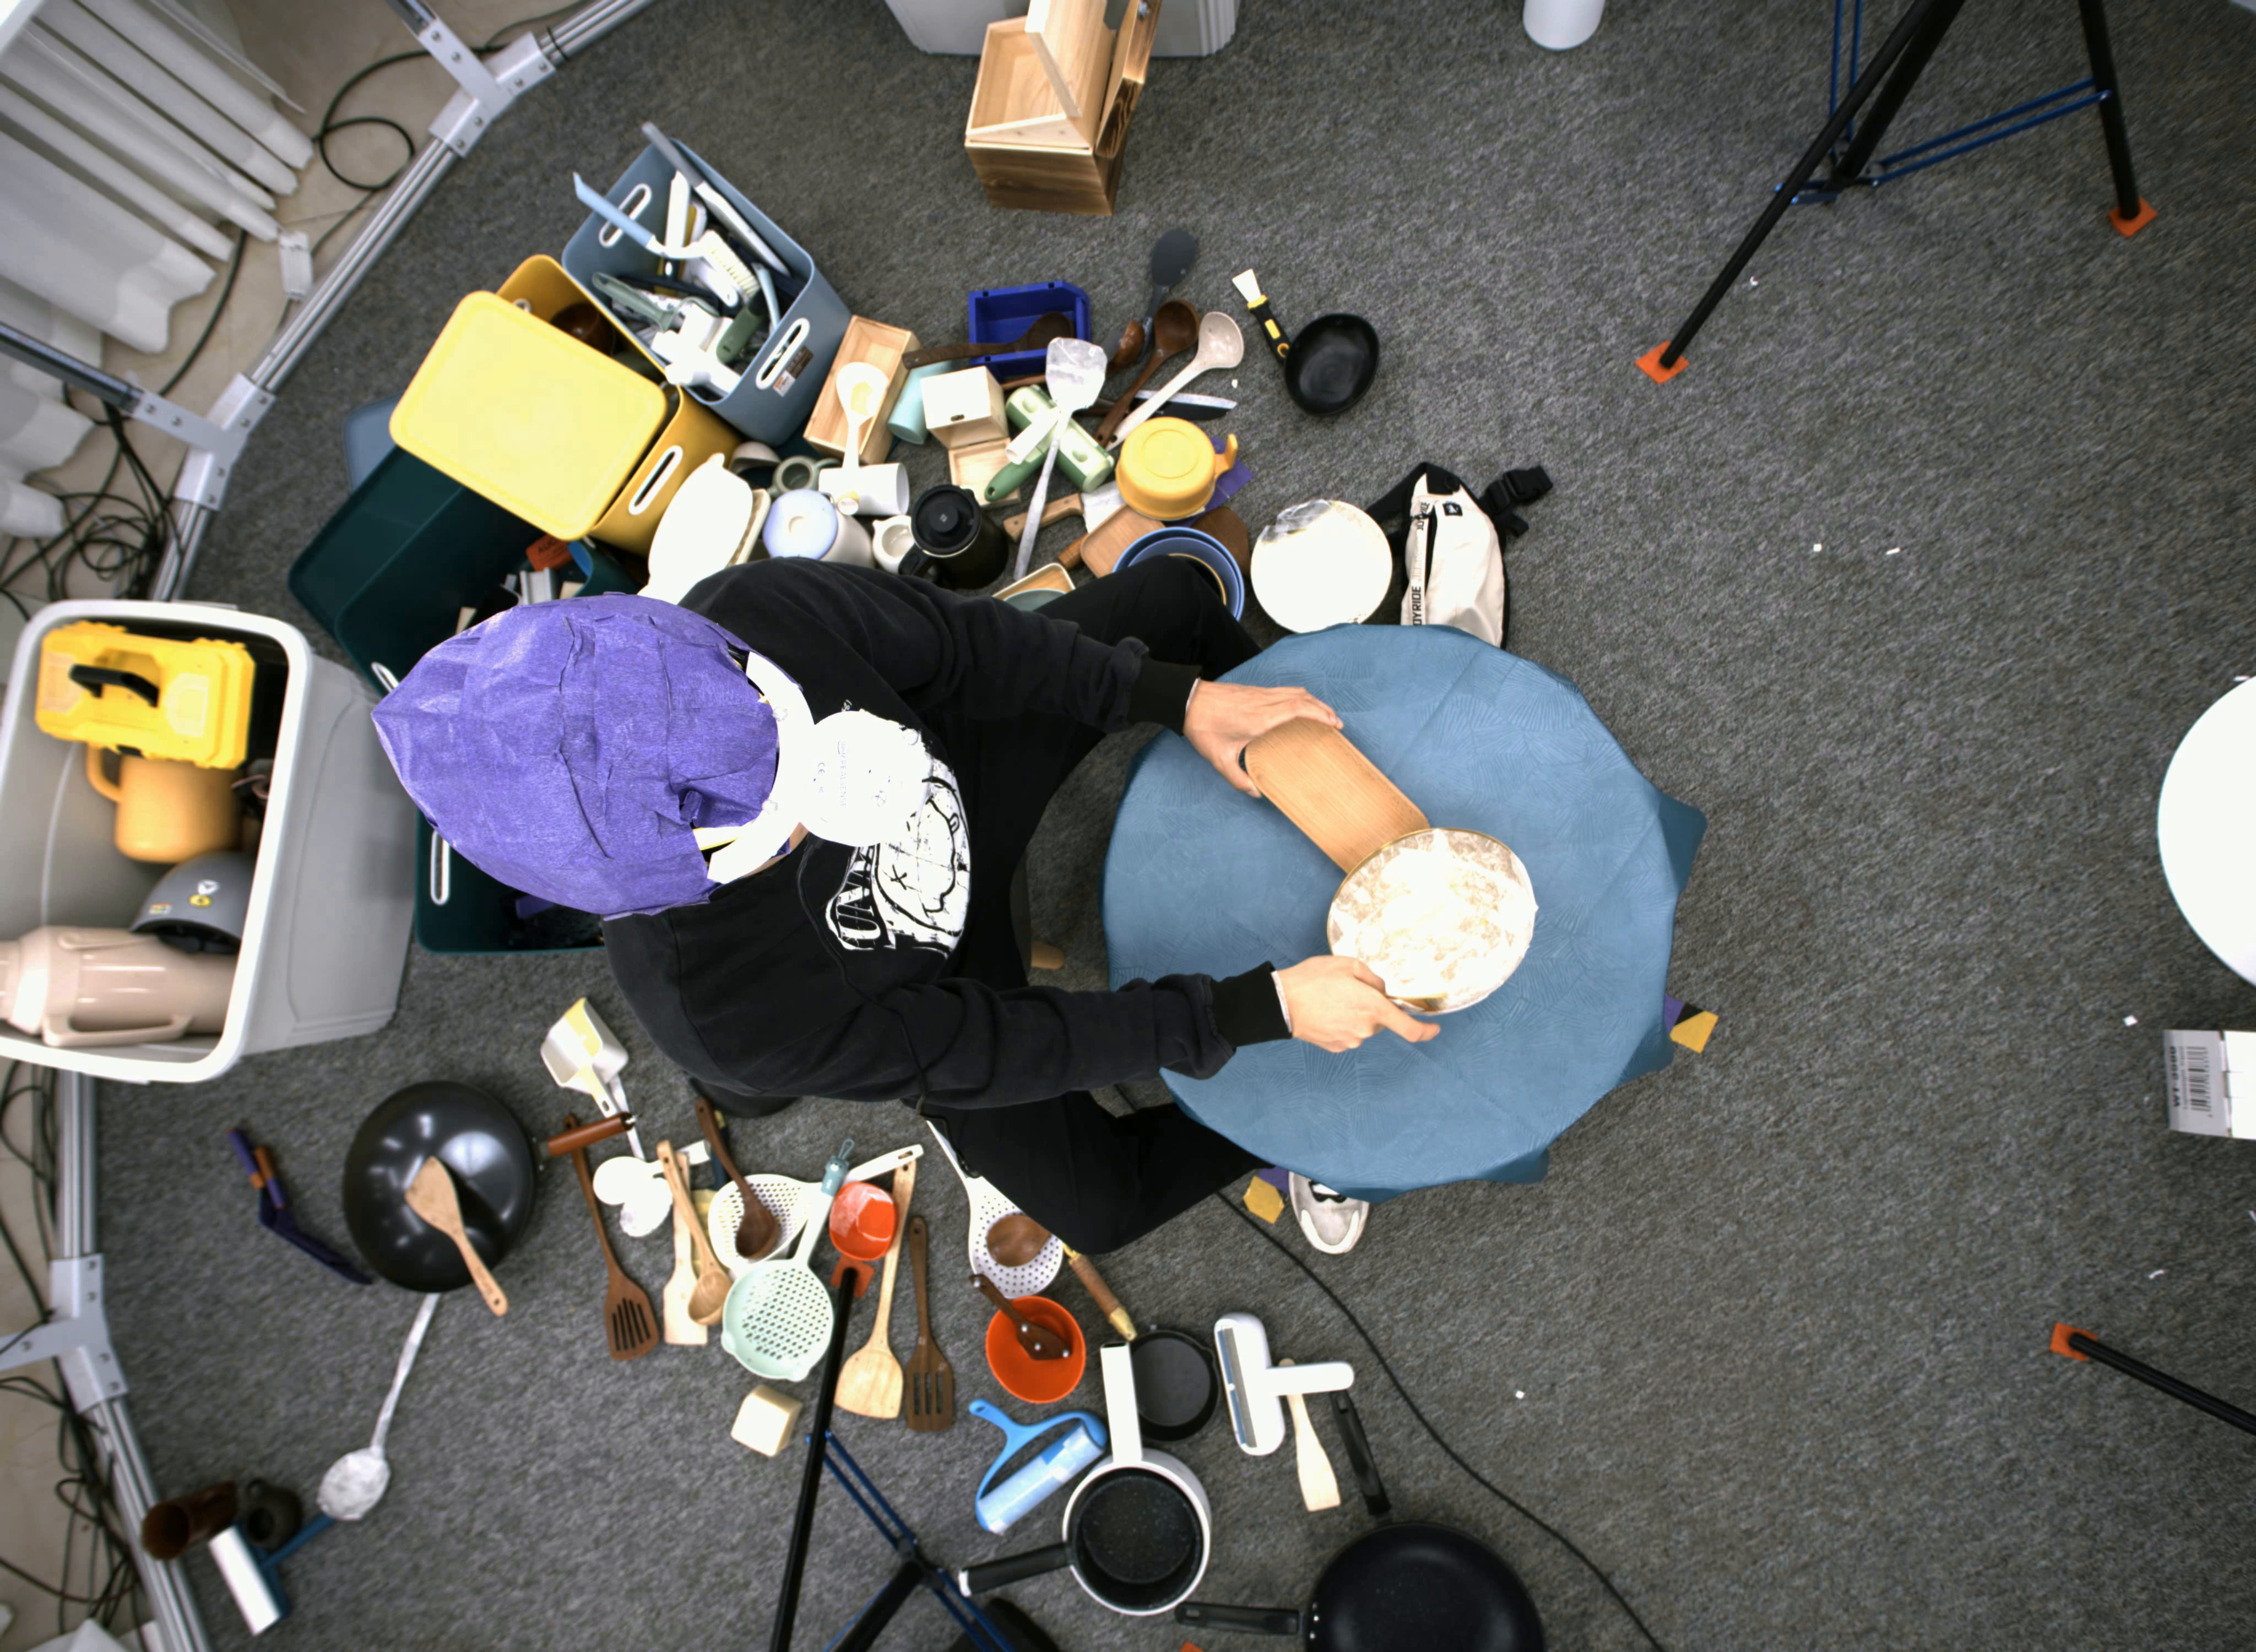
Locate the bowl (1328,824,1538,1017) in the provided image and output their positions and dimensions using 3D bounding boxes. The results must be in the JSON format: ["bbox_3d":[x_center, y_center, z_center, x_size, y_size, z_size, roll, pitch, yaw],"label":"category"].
[{"bbox_3d":[0.305,0.105,1.353,0.217,0.096,0.209,-19,46,20],"label":"bowl"}]

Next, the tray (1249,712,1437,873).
[{"bbox_3d":[0.225,-0.026,1.446,0.232,0.020,0.102,42,100,-5],"label":"tray"}]
